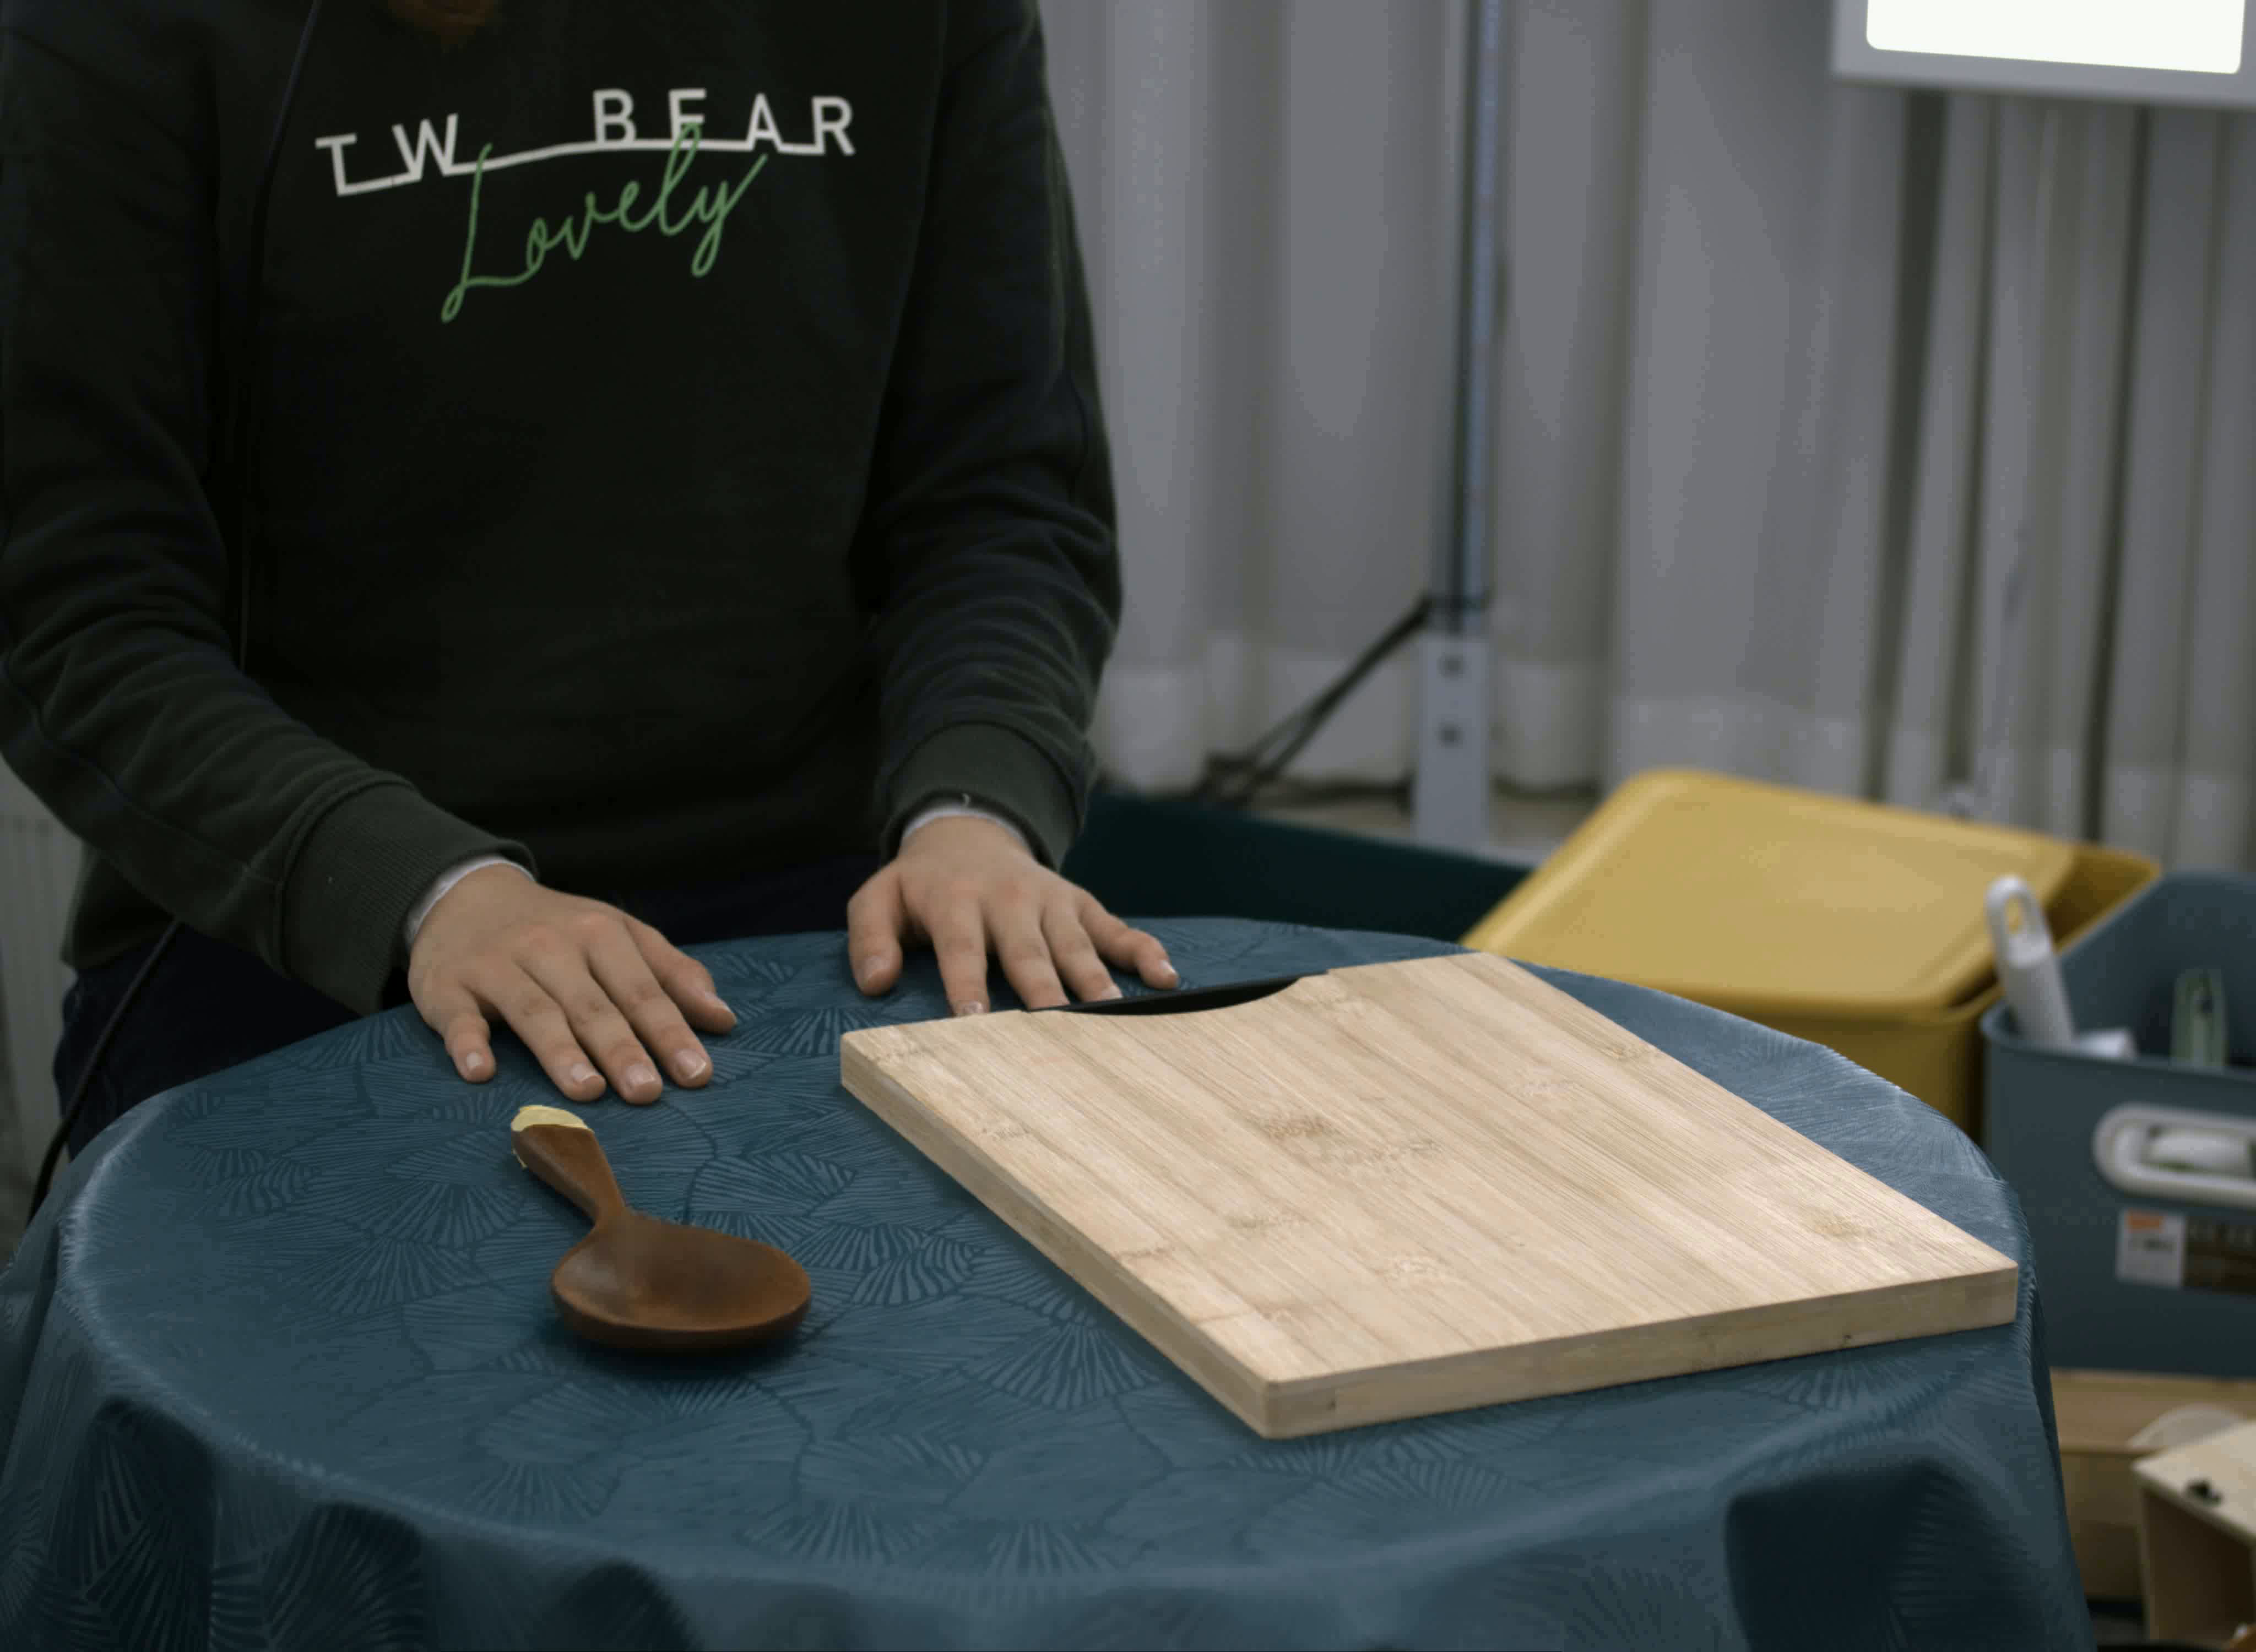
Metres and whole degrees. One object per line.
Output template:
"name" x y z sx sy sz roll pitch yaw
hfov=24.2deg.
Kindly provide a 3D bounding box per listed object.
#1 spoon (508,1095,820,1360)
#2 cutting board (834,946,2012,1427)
"spoon" -0.148 0.120 1.562 0.075 0.017 0.213 -7 18 -19
"cutting board" 0.079 0.105 1.628 0.251 0.024 0.344 -6 17 -24
